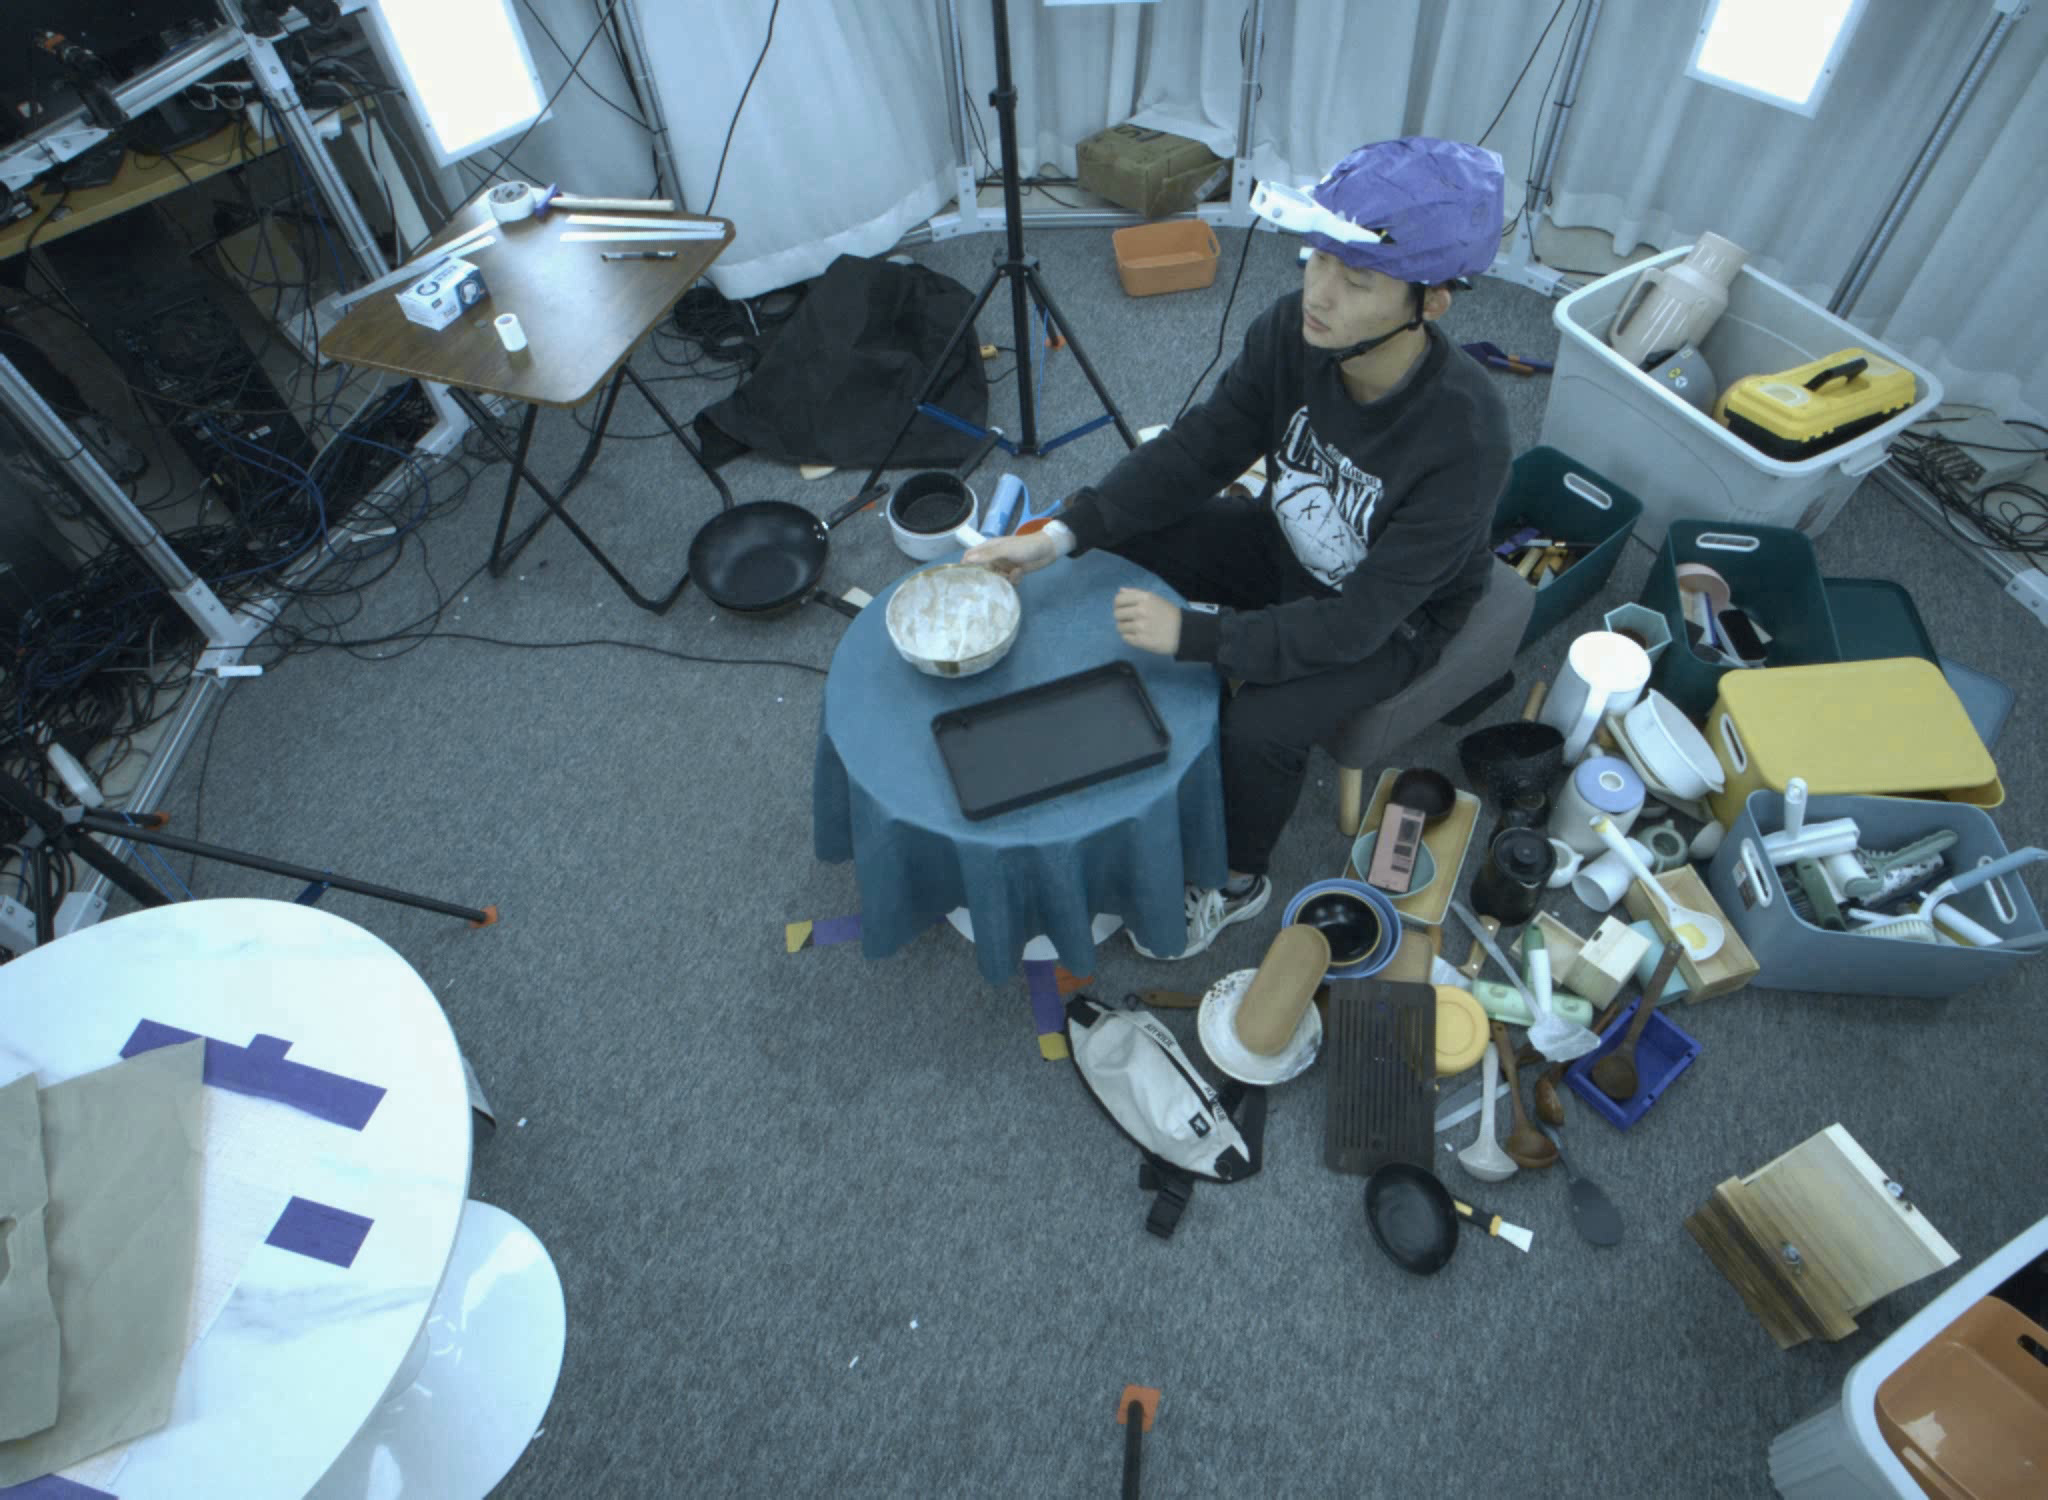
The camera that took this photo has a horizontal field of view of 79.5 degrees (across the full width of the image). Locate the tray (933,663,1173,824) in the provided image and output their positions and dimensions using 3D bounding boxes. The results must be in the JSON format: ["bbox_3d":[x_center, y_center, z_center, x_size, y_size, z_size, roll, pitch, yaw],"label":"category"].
[{"bbox_3d":[0.040,-0.012,1.783,0.320,0.037,0.181,-16,57,-9],"label":"tray"}]

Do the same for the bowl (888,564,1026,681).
[{"bbox_3d":[-0.097,-0.177,1.868,0.214,0.095,0.212,-1,54,2],"label":"bowl"}]
